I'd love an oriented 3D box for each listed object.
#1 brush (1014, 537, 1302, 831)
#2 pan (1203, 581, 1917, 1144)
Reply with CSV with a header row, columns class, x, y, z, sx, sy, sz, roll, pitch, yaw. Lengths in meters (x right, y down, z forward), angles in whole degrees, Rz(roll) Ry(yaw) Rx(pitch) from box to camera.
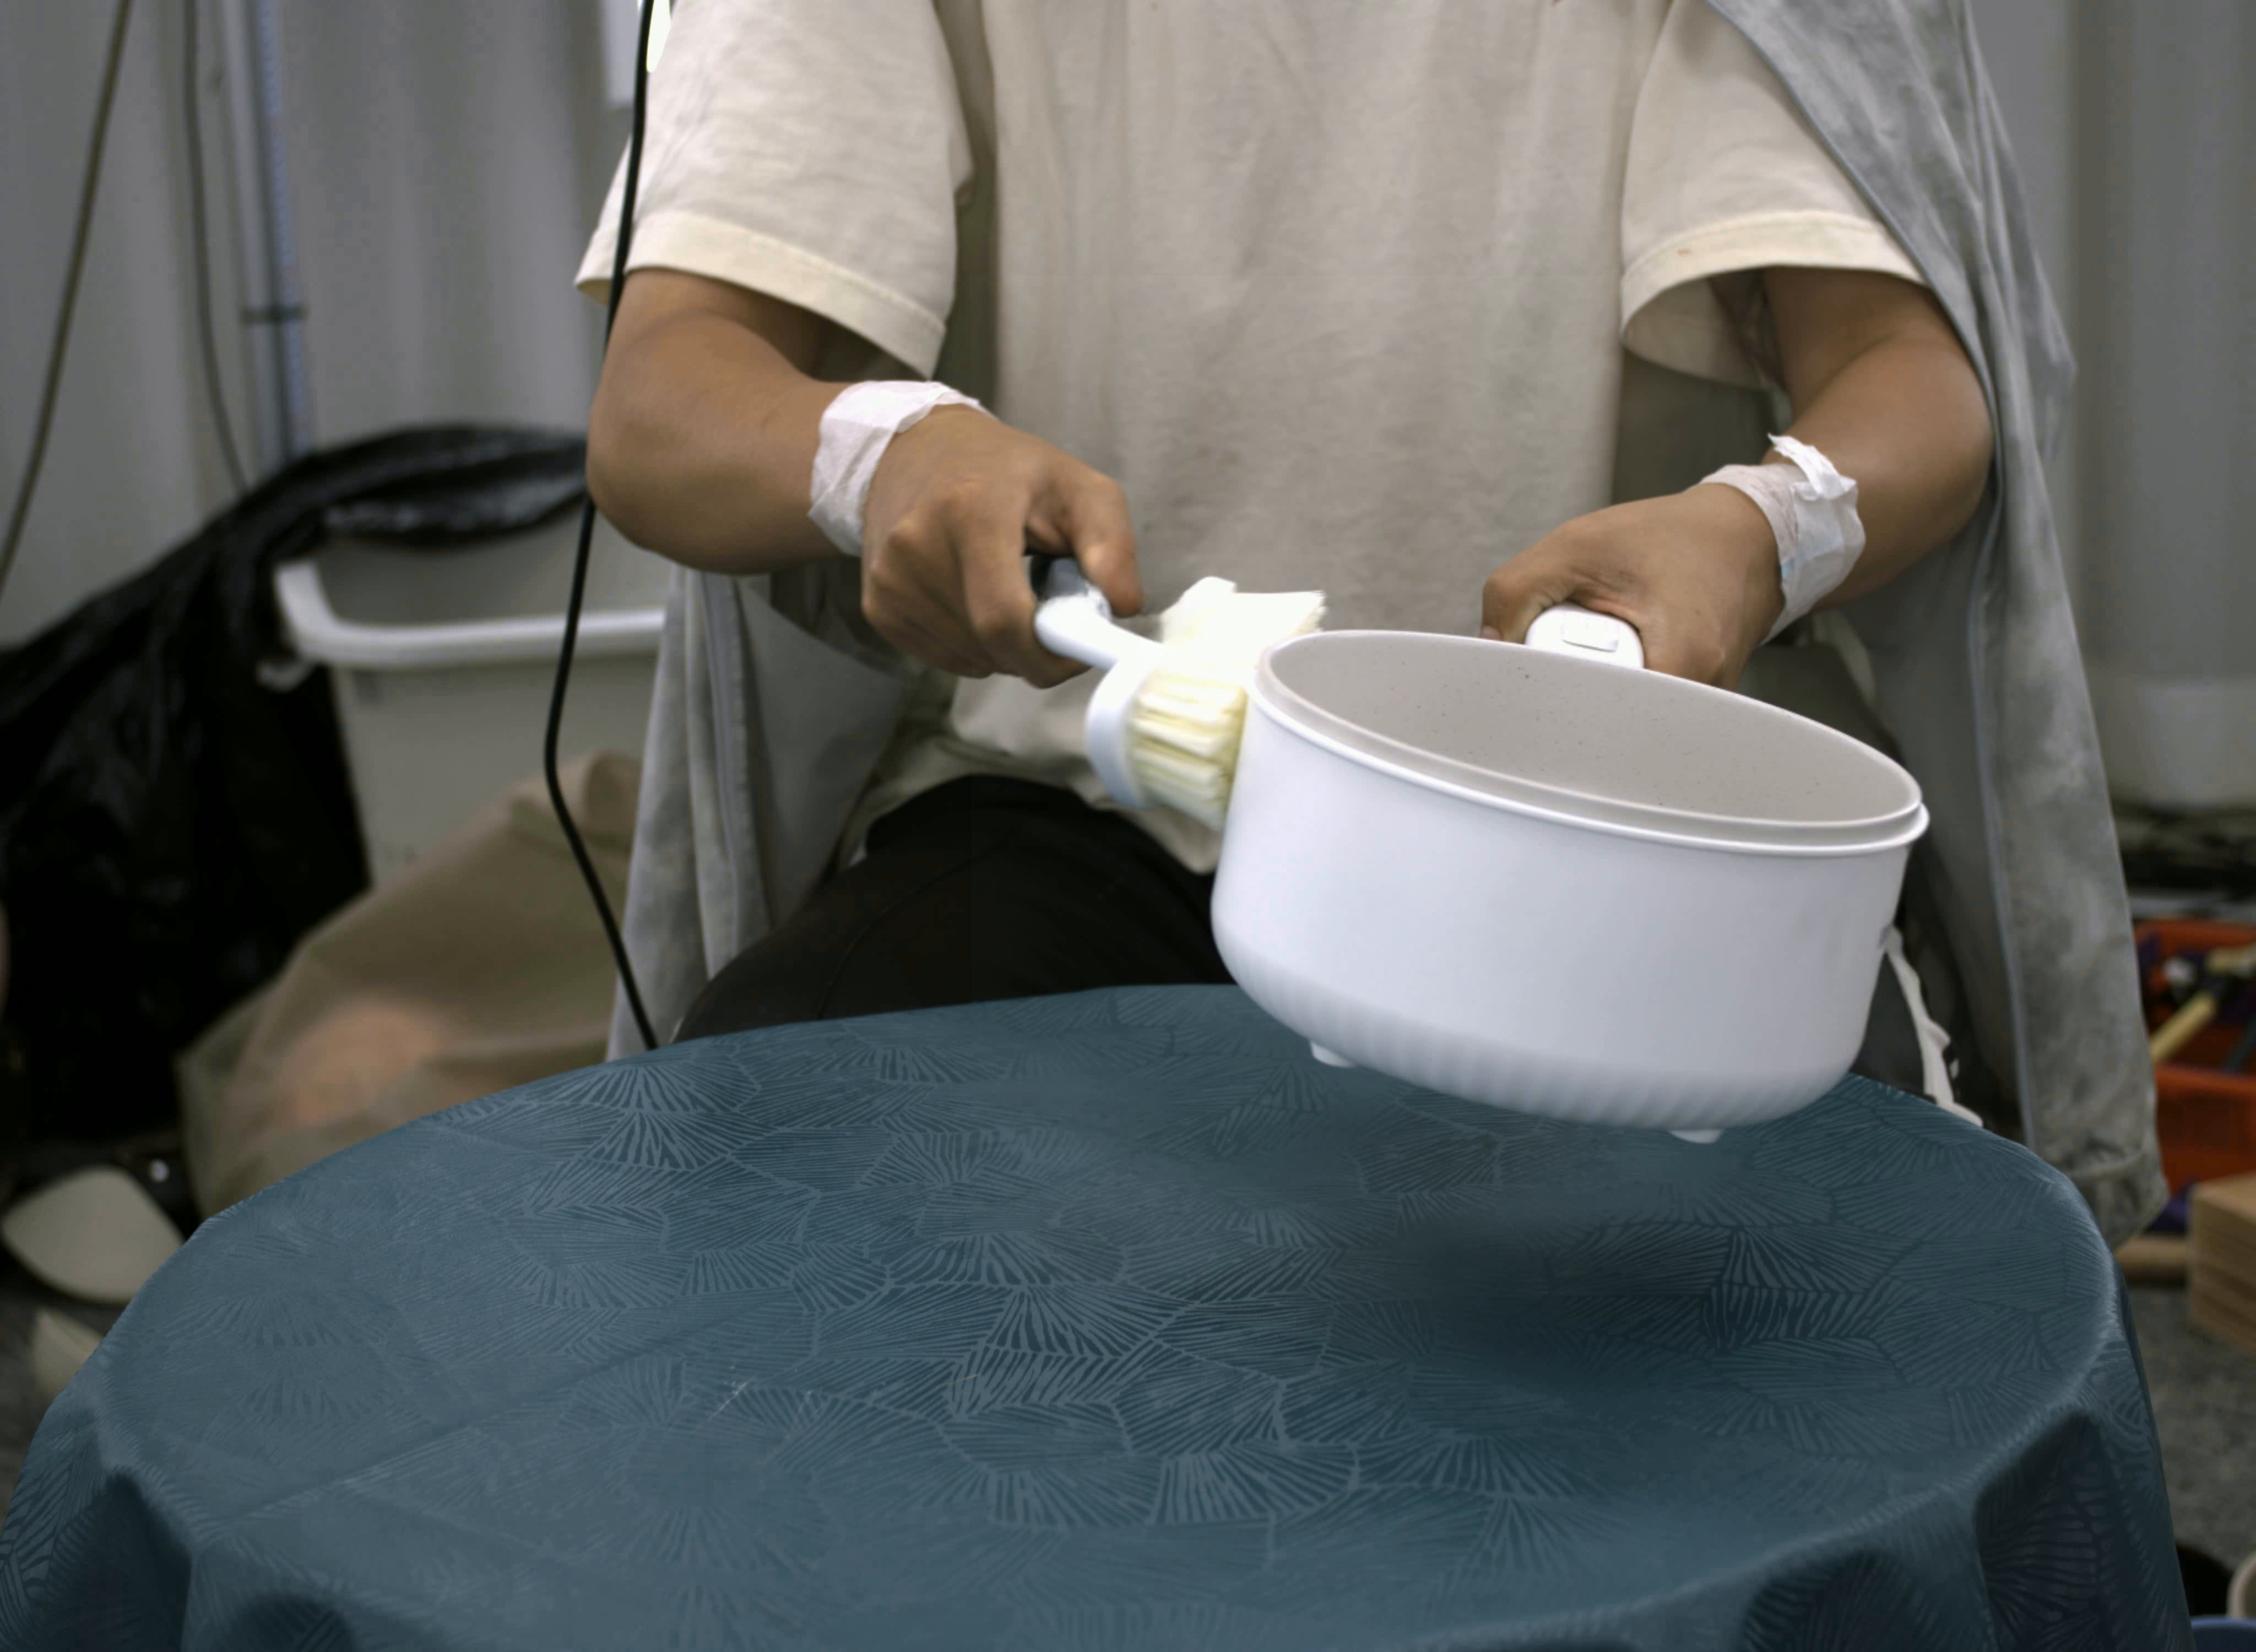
class,x,y,z,sx,sy,sz,roll,pitch,yaw
brush,0.018,-0.057,1.741,0.083,0.084,0.327,-39,9,5
pan,0.128,0.002,1.667,0.201,0.102,0.356,11,13,3
